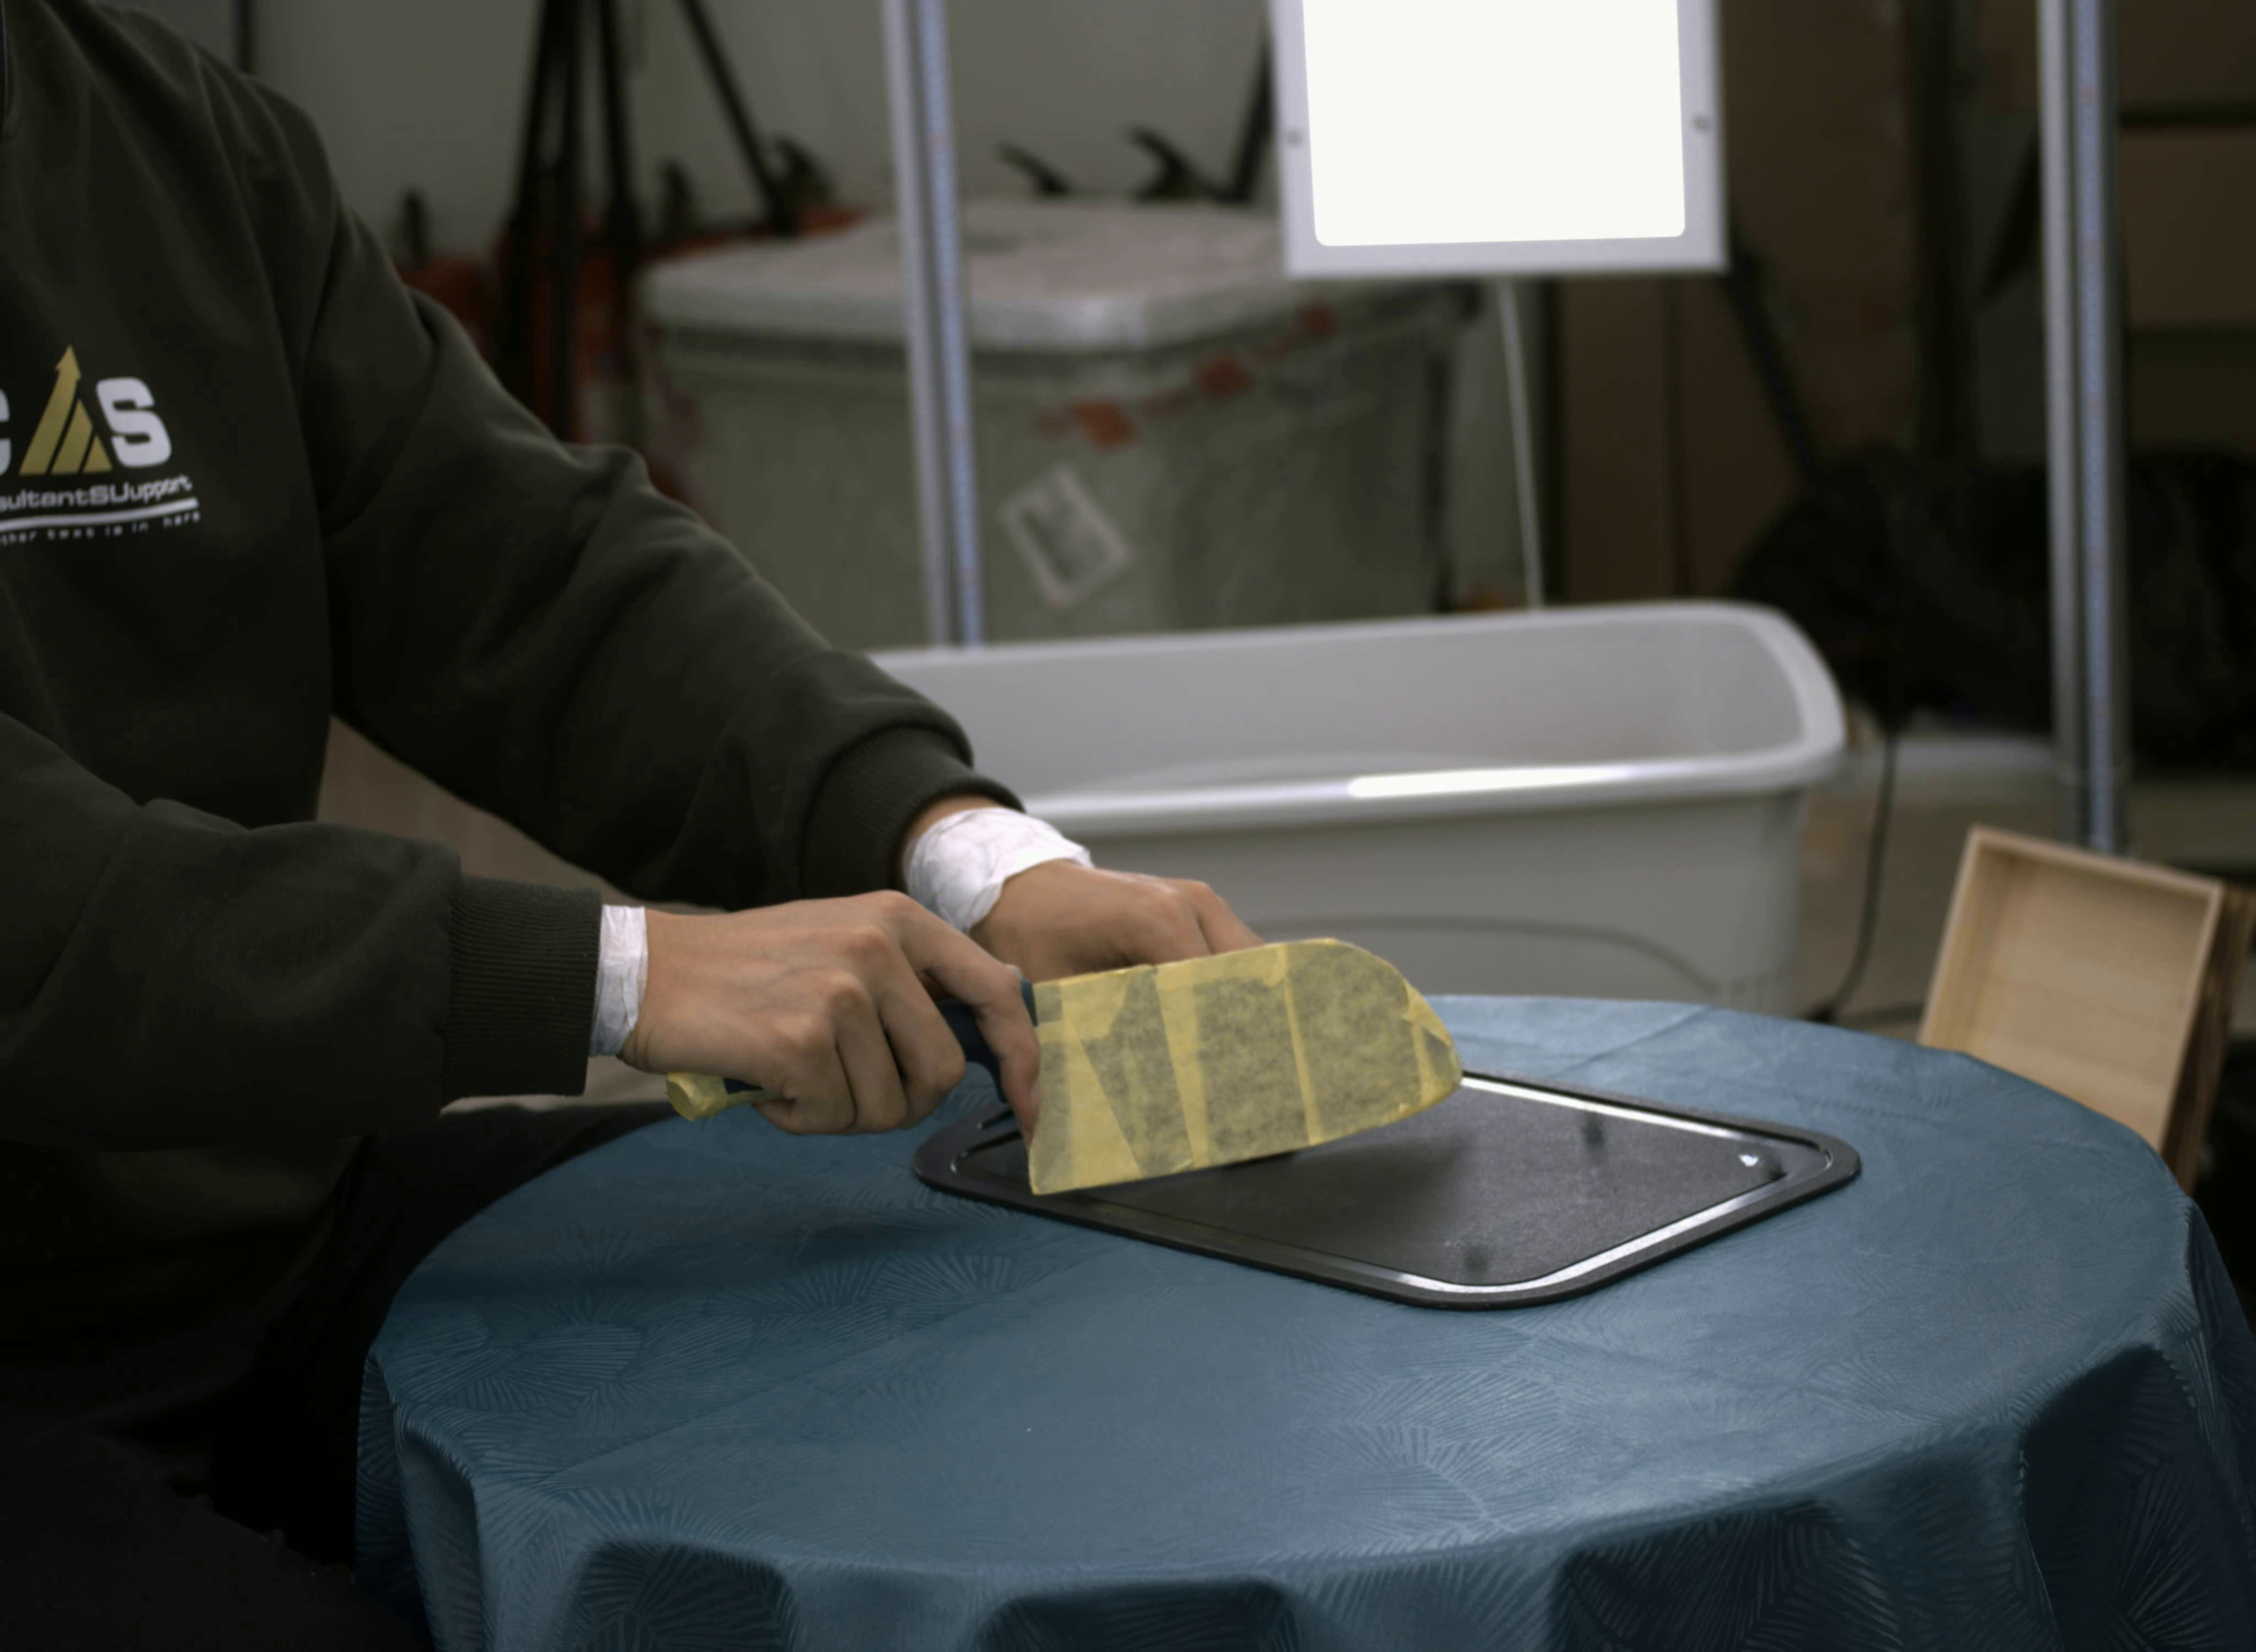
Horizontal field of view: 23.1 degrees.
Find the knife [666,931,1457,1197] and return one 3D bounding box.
[{"bbox_3d":[-0.018,0.086,1.900,0.285,0.081,0.027,-6,-7,-17],"label":"knife"}]

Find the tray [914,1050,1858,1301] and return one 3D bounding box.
[{"bbox_3d":[0.080,0.113,1.912,0.206,0.010,0.332,-17,18,-41],"label":"tray"}]
